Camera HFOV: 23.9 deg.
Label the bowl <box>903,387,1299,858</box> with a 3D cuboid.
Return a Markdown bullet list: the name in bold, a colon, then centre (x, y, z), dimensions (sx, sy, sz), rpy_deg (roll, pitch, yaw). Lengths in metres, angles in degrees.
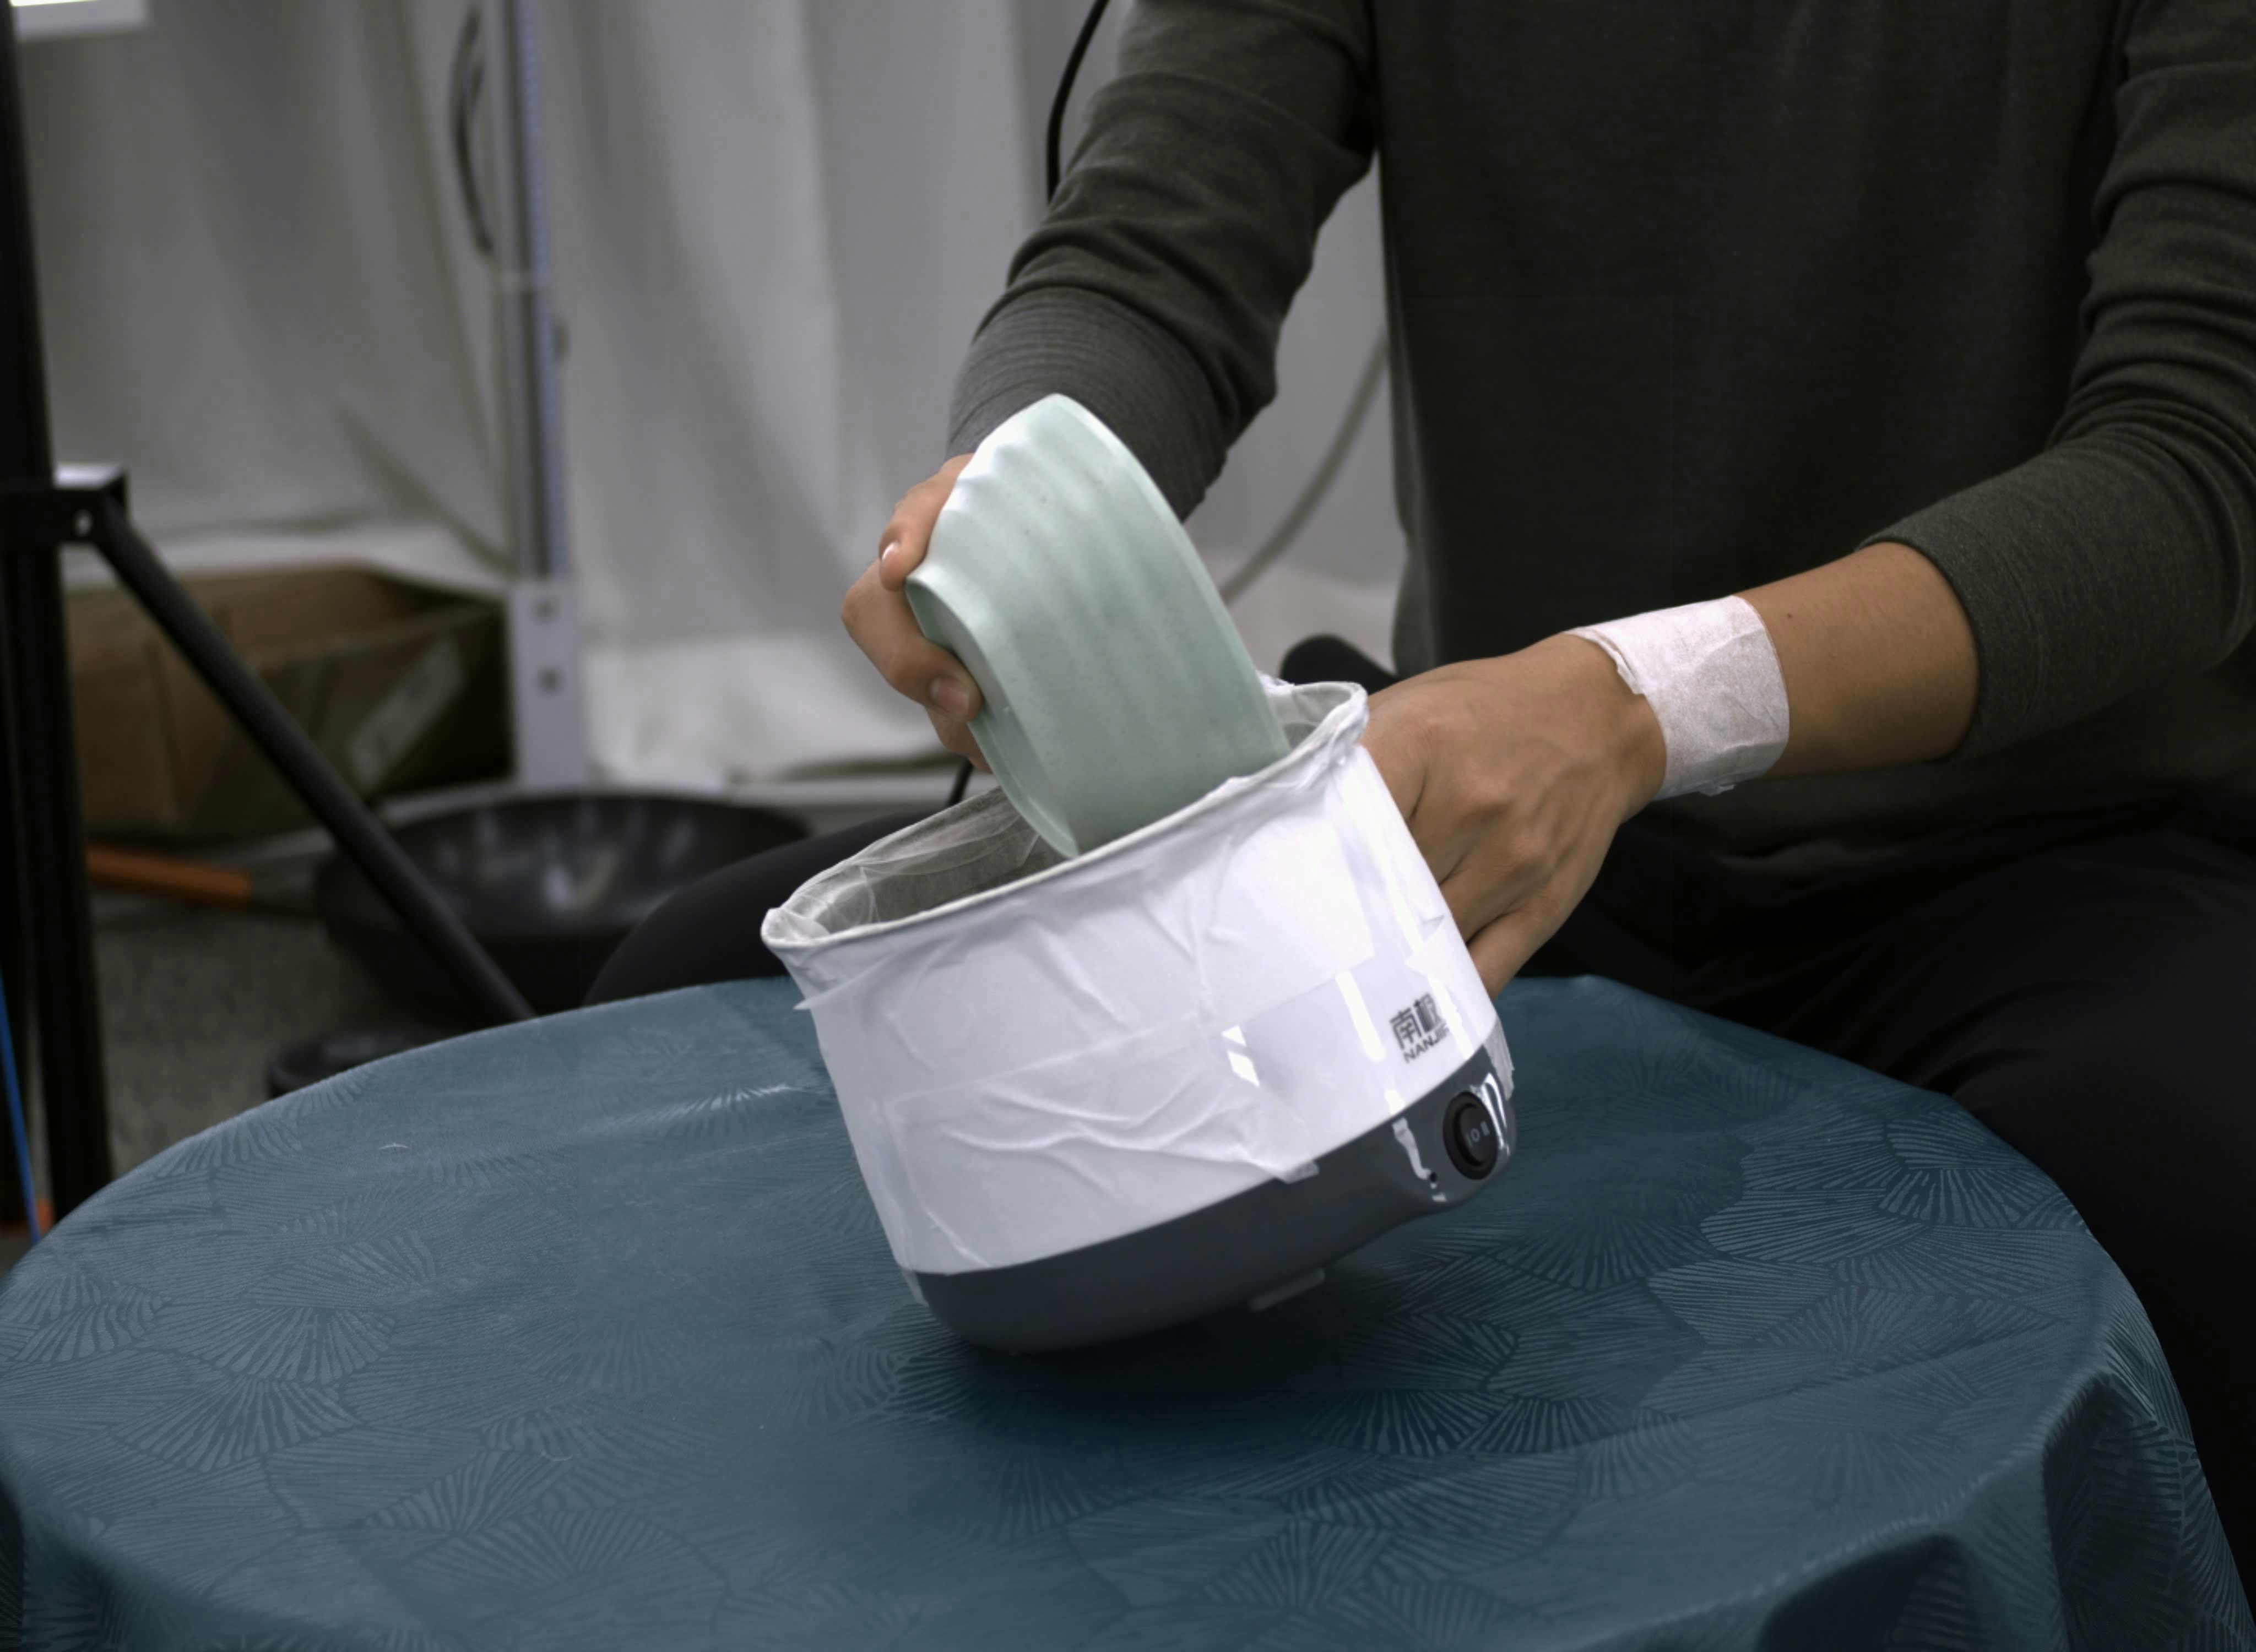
- **bowl**: centre (-0.013, -0.042, 1.424), dimensions (0.058, 0.150, 0.154), rpy_deg (-28, 20, -7)

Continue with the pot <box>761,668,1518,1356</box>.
- **pot**: centre (0.021, 0.044, 1.457), dimensions (0.182, 0.136, 0.230), rpy_deg (-15, 11, 37)
